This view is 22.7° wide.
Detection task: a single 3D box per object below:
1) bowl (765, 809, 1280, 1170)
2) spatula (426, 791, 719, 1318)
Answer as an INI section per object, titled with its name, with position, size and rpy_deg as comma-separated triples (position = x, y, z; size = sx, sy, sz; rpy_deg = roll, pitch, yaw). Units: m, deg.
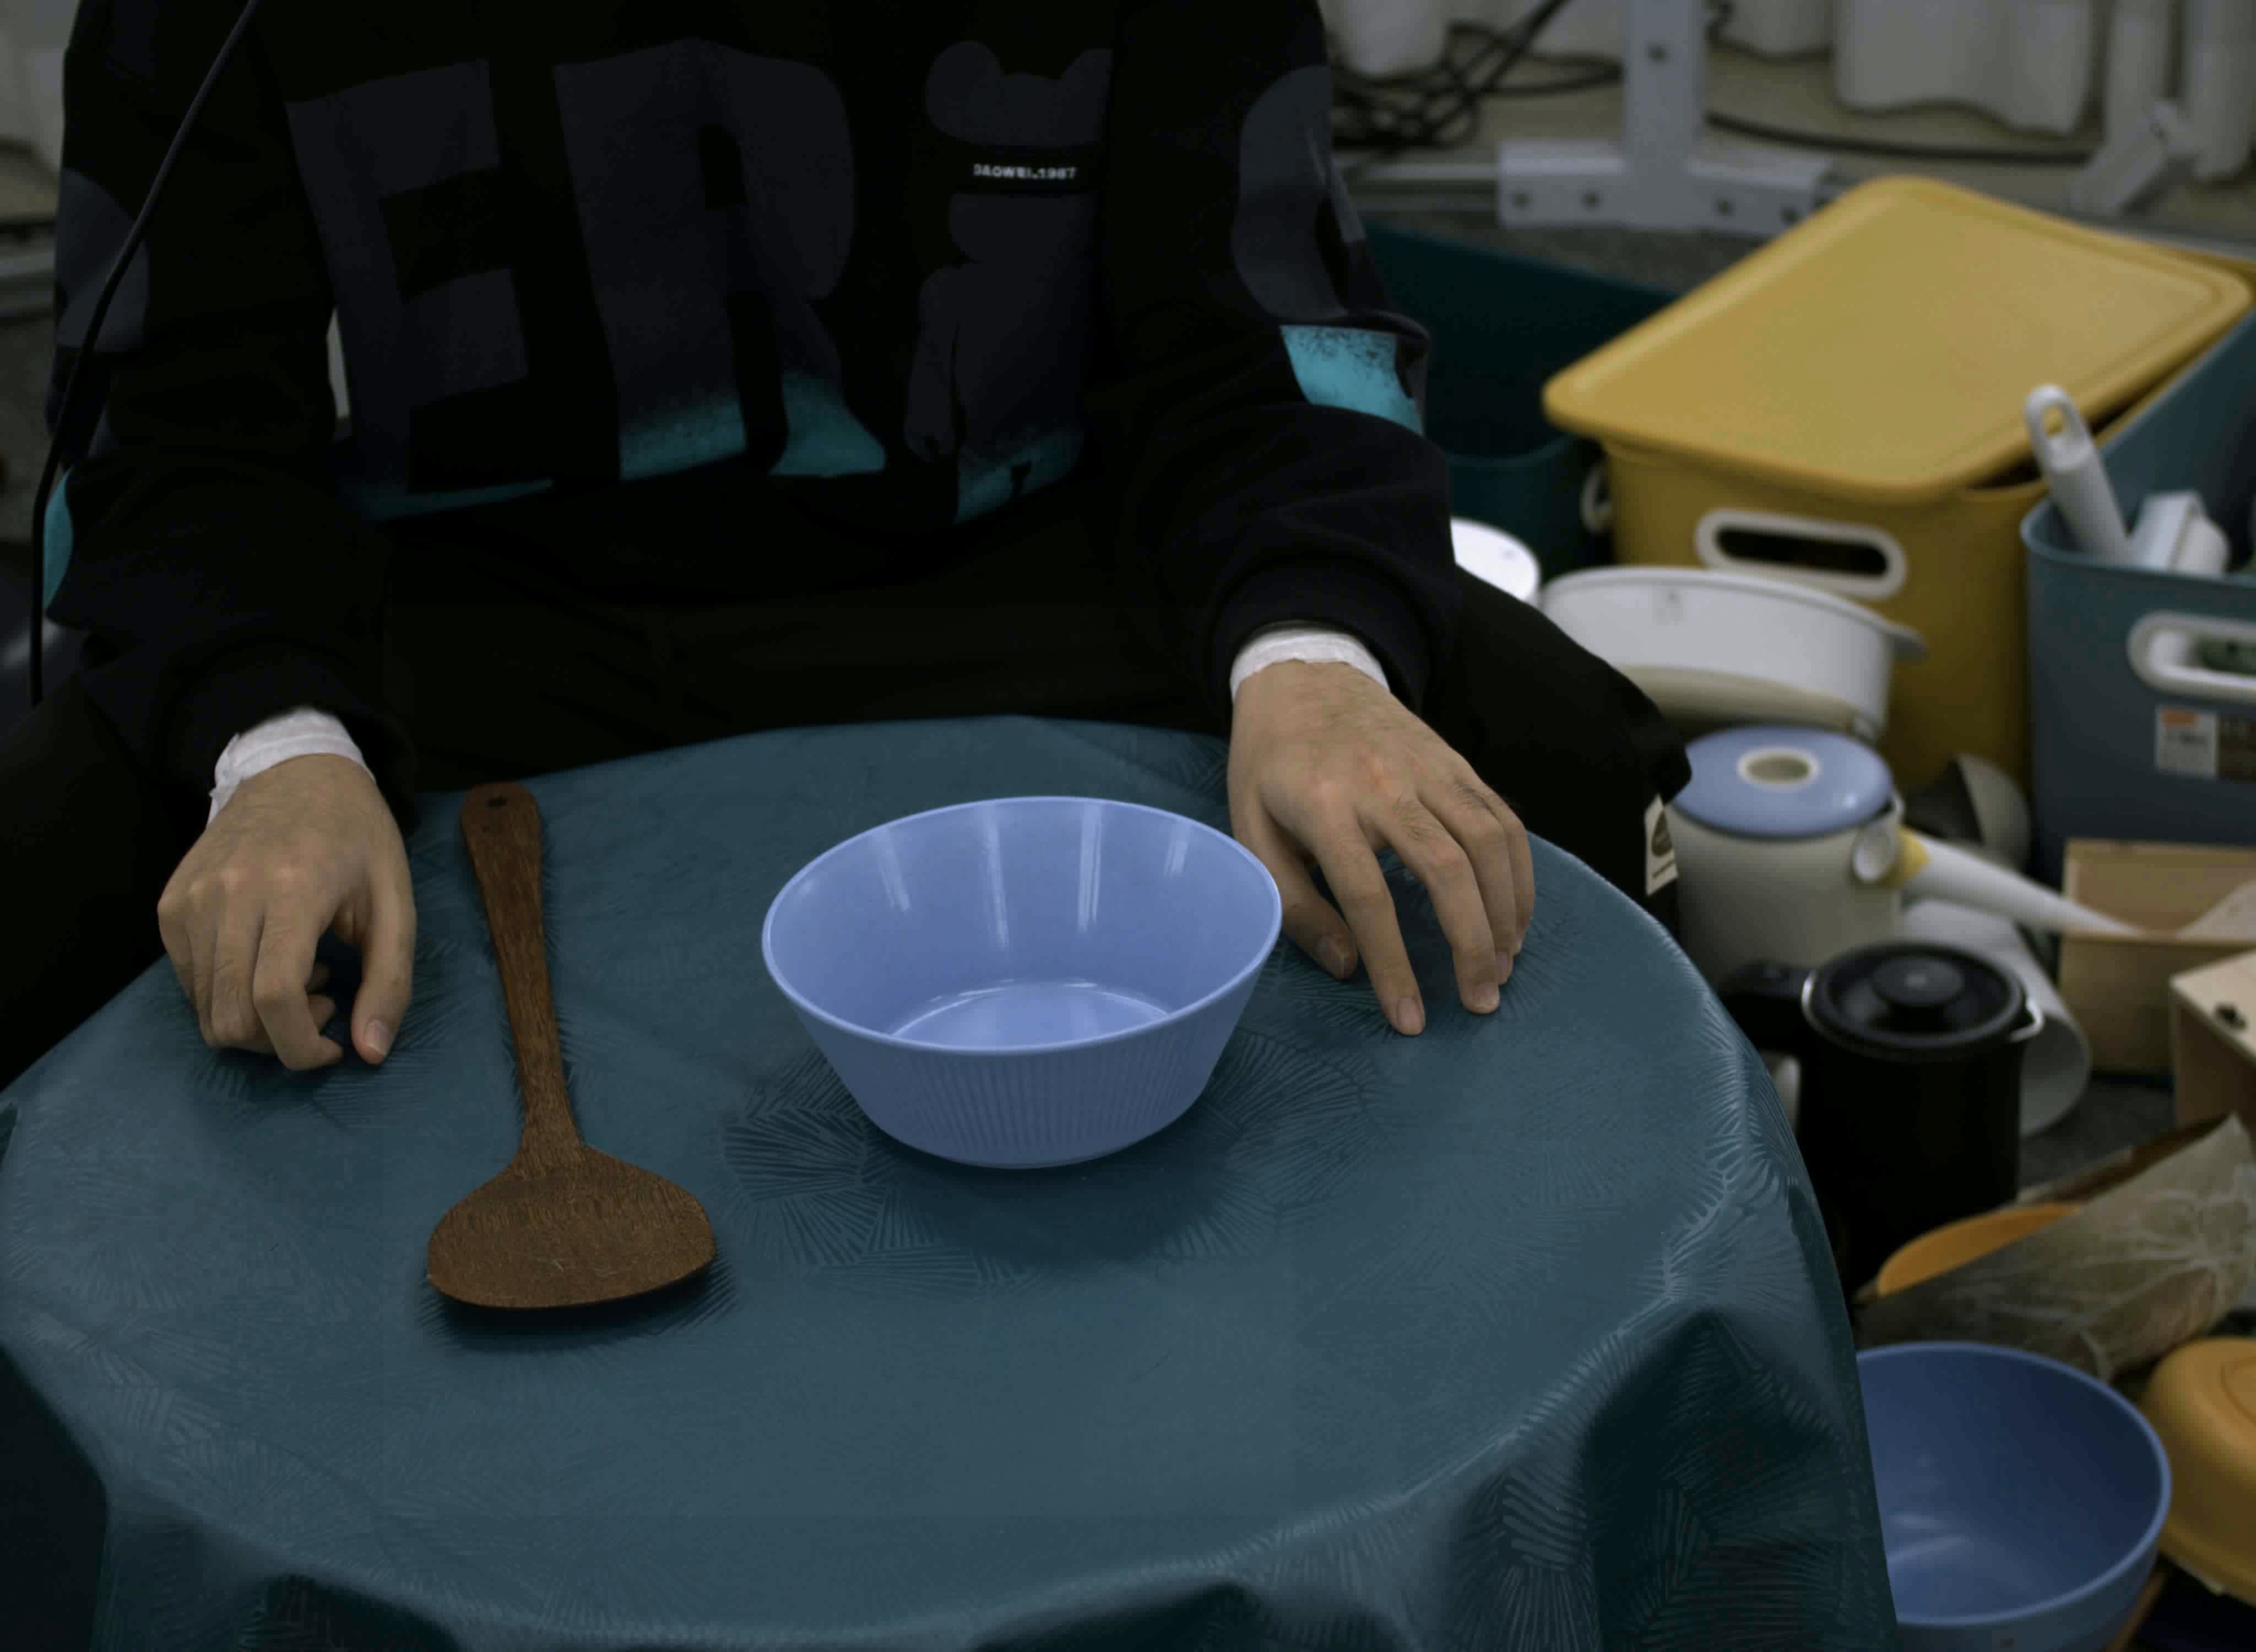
[bowl]
position = -0.034, 0.061, 1.907
size = 0.175, 0.069, 0.178
rpy_deg = -2, 26, 1
[spatula]
position = -0.208, 0.072, 1.964
size = 0.096, 0.015, 0.390
rpy_deg = -6, 27, -8
